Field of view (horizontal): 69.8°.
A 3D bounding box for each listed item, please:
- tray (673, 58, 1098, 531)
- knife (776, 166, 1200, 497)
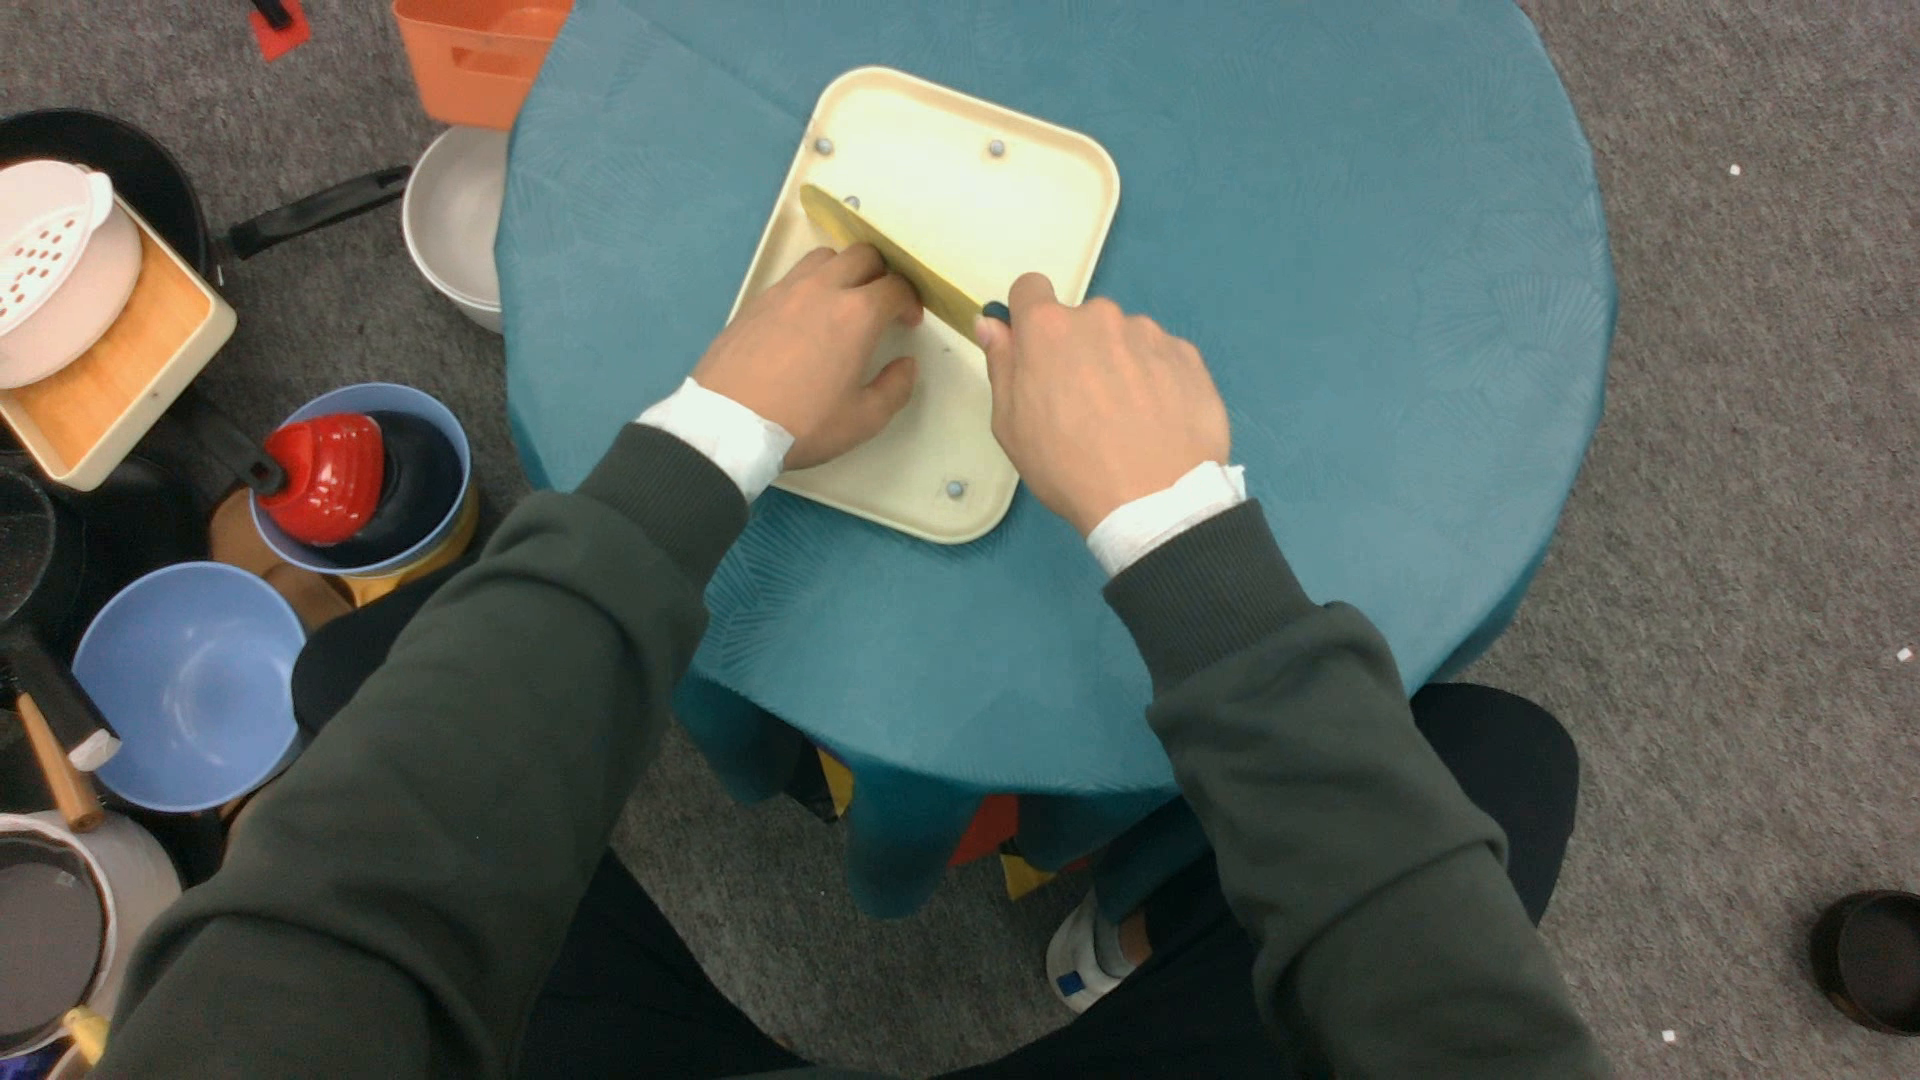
[{"bbox_3d":[-0.036,-0.131,0.723,0.171,0.017,0.240,19,76,2],"label":"tray"},{"bbox_3d":[0.002,-0.104,0.651,0.290,0.081,0.027,41,88,28],"label":"knife"}]
